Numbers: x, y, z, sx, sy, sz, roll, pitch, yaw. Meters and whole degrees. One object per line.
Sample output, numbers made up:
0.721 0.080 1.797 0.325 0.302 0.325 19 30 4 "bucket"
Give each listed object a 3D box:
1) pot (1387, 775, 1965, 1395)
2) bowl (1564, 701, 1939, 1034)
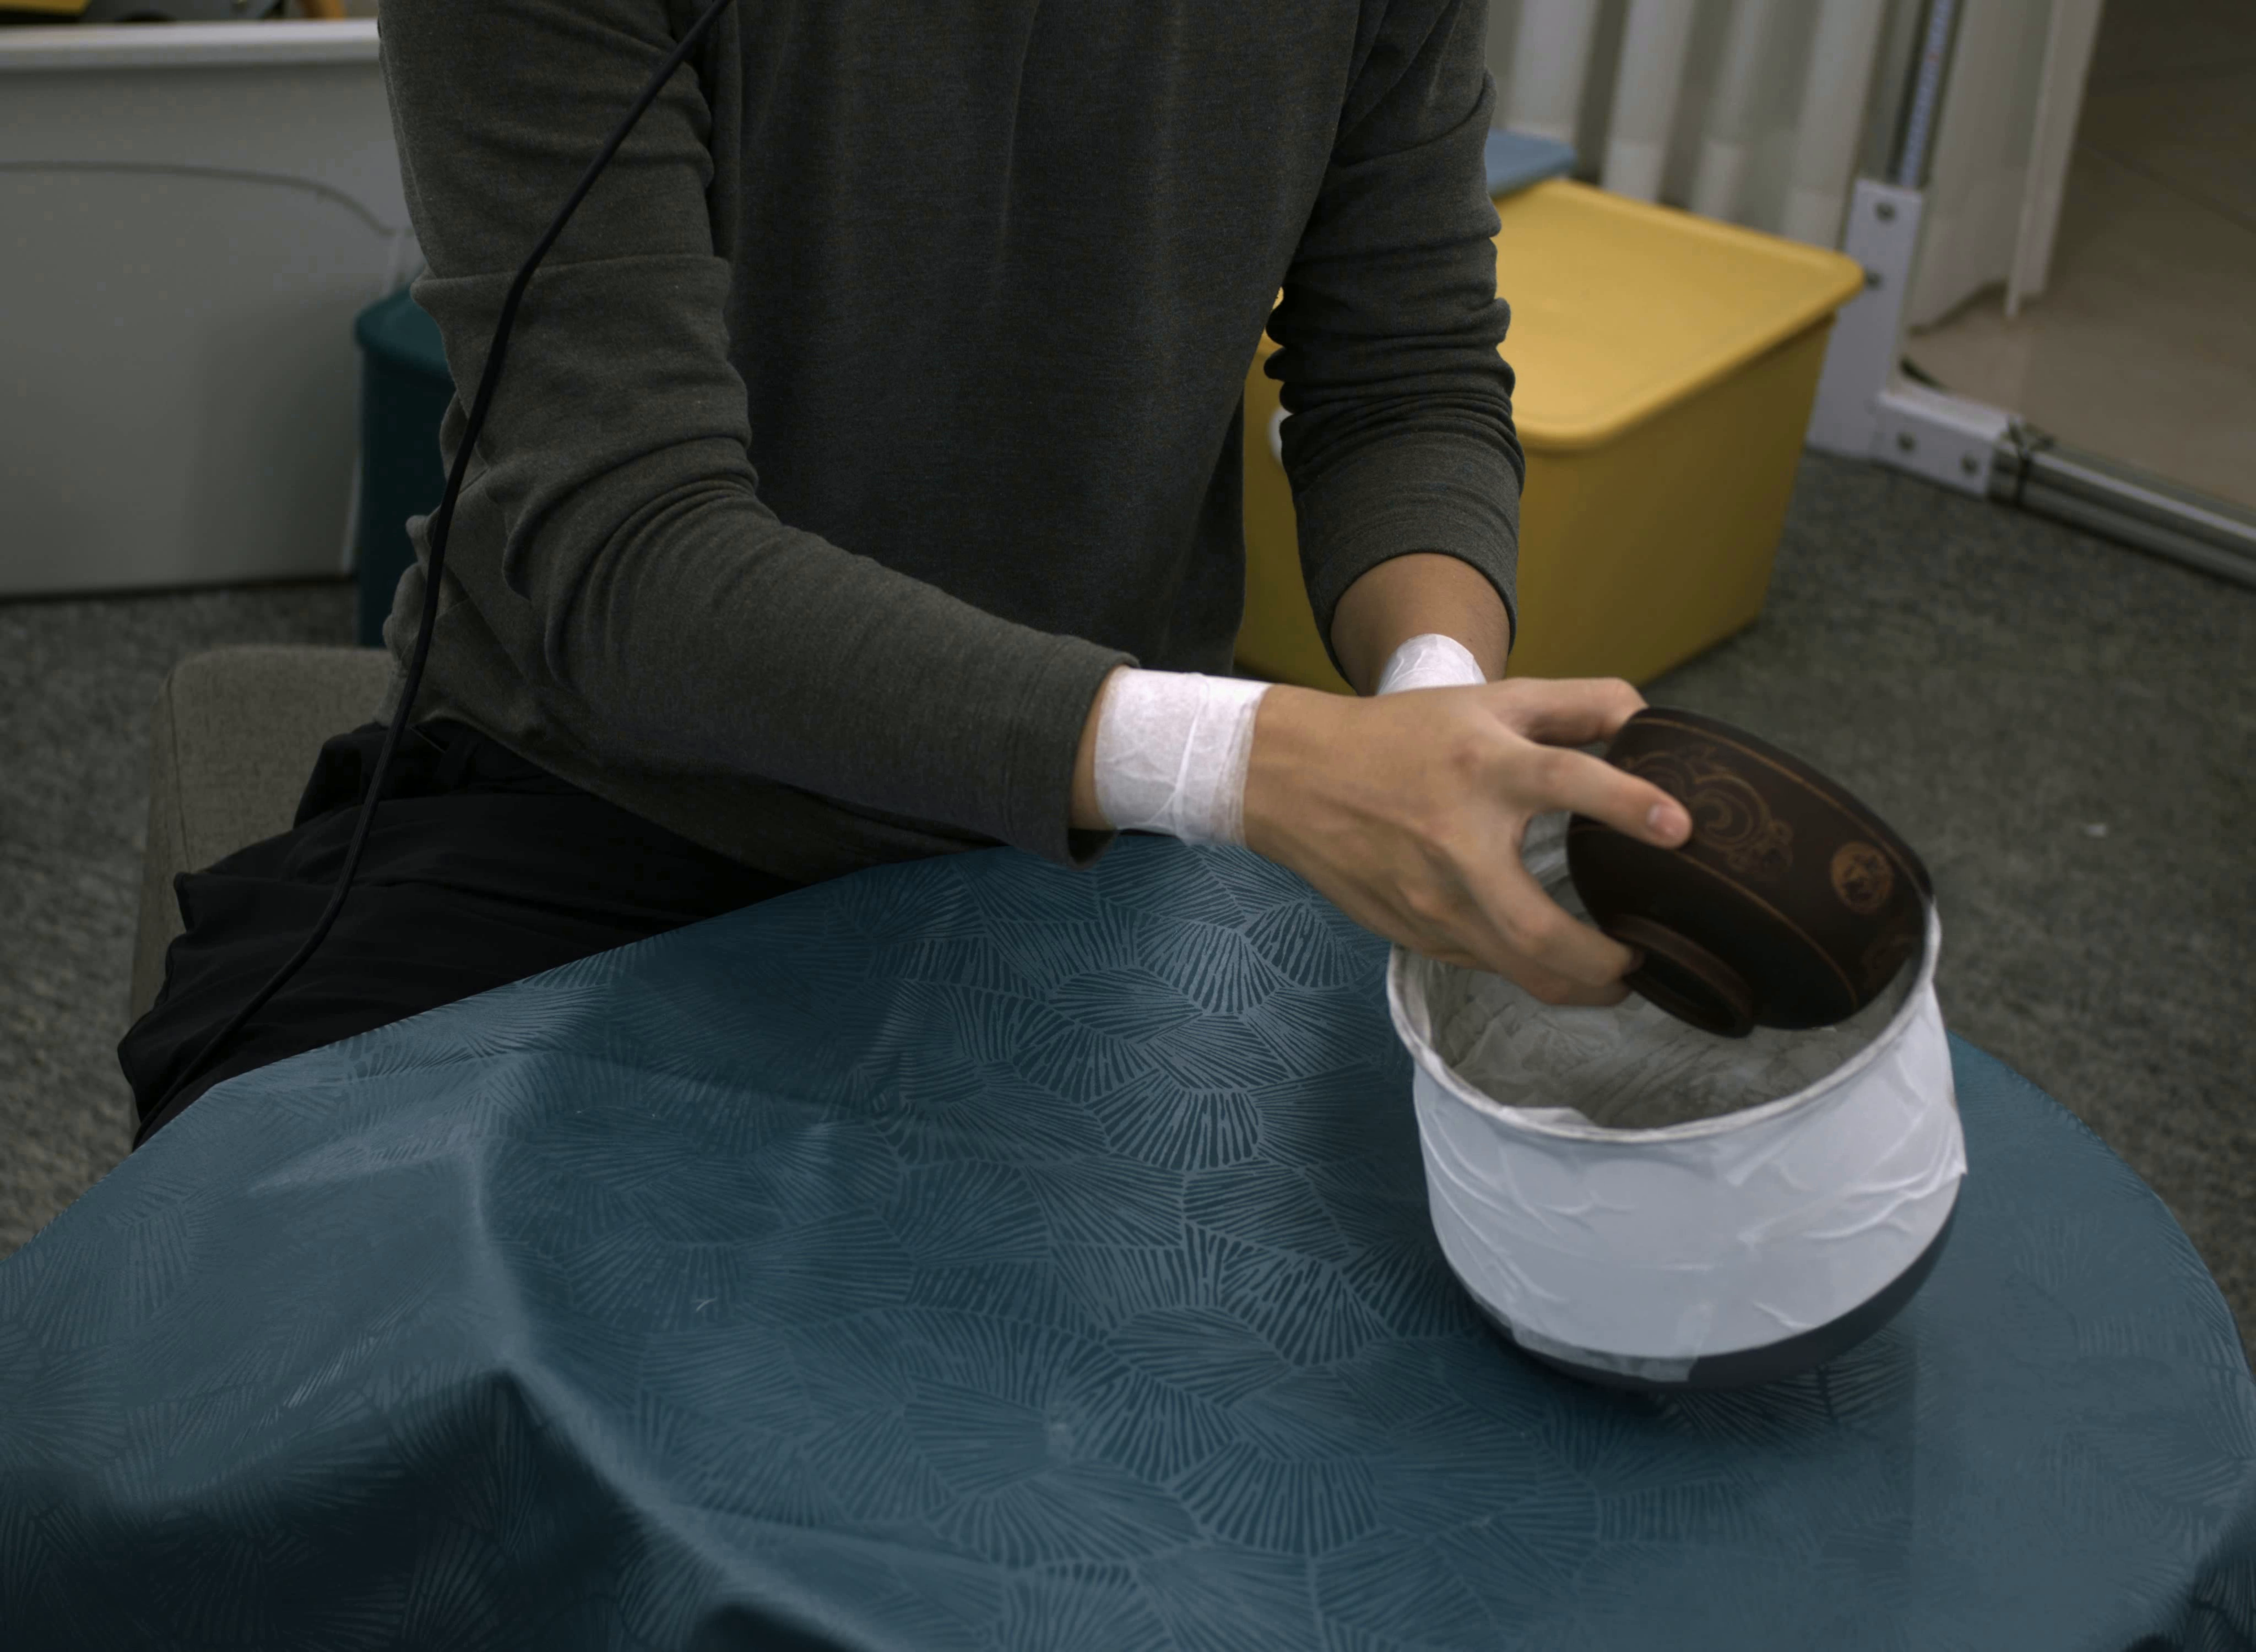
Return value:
0.167 0.073 1.751 0.178 0.135 0.236 -26 39 -15 "pot"
0.188 0.022 1.668 0.119 0.117 0.070 24 73 30 "bowl"
